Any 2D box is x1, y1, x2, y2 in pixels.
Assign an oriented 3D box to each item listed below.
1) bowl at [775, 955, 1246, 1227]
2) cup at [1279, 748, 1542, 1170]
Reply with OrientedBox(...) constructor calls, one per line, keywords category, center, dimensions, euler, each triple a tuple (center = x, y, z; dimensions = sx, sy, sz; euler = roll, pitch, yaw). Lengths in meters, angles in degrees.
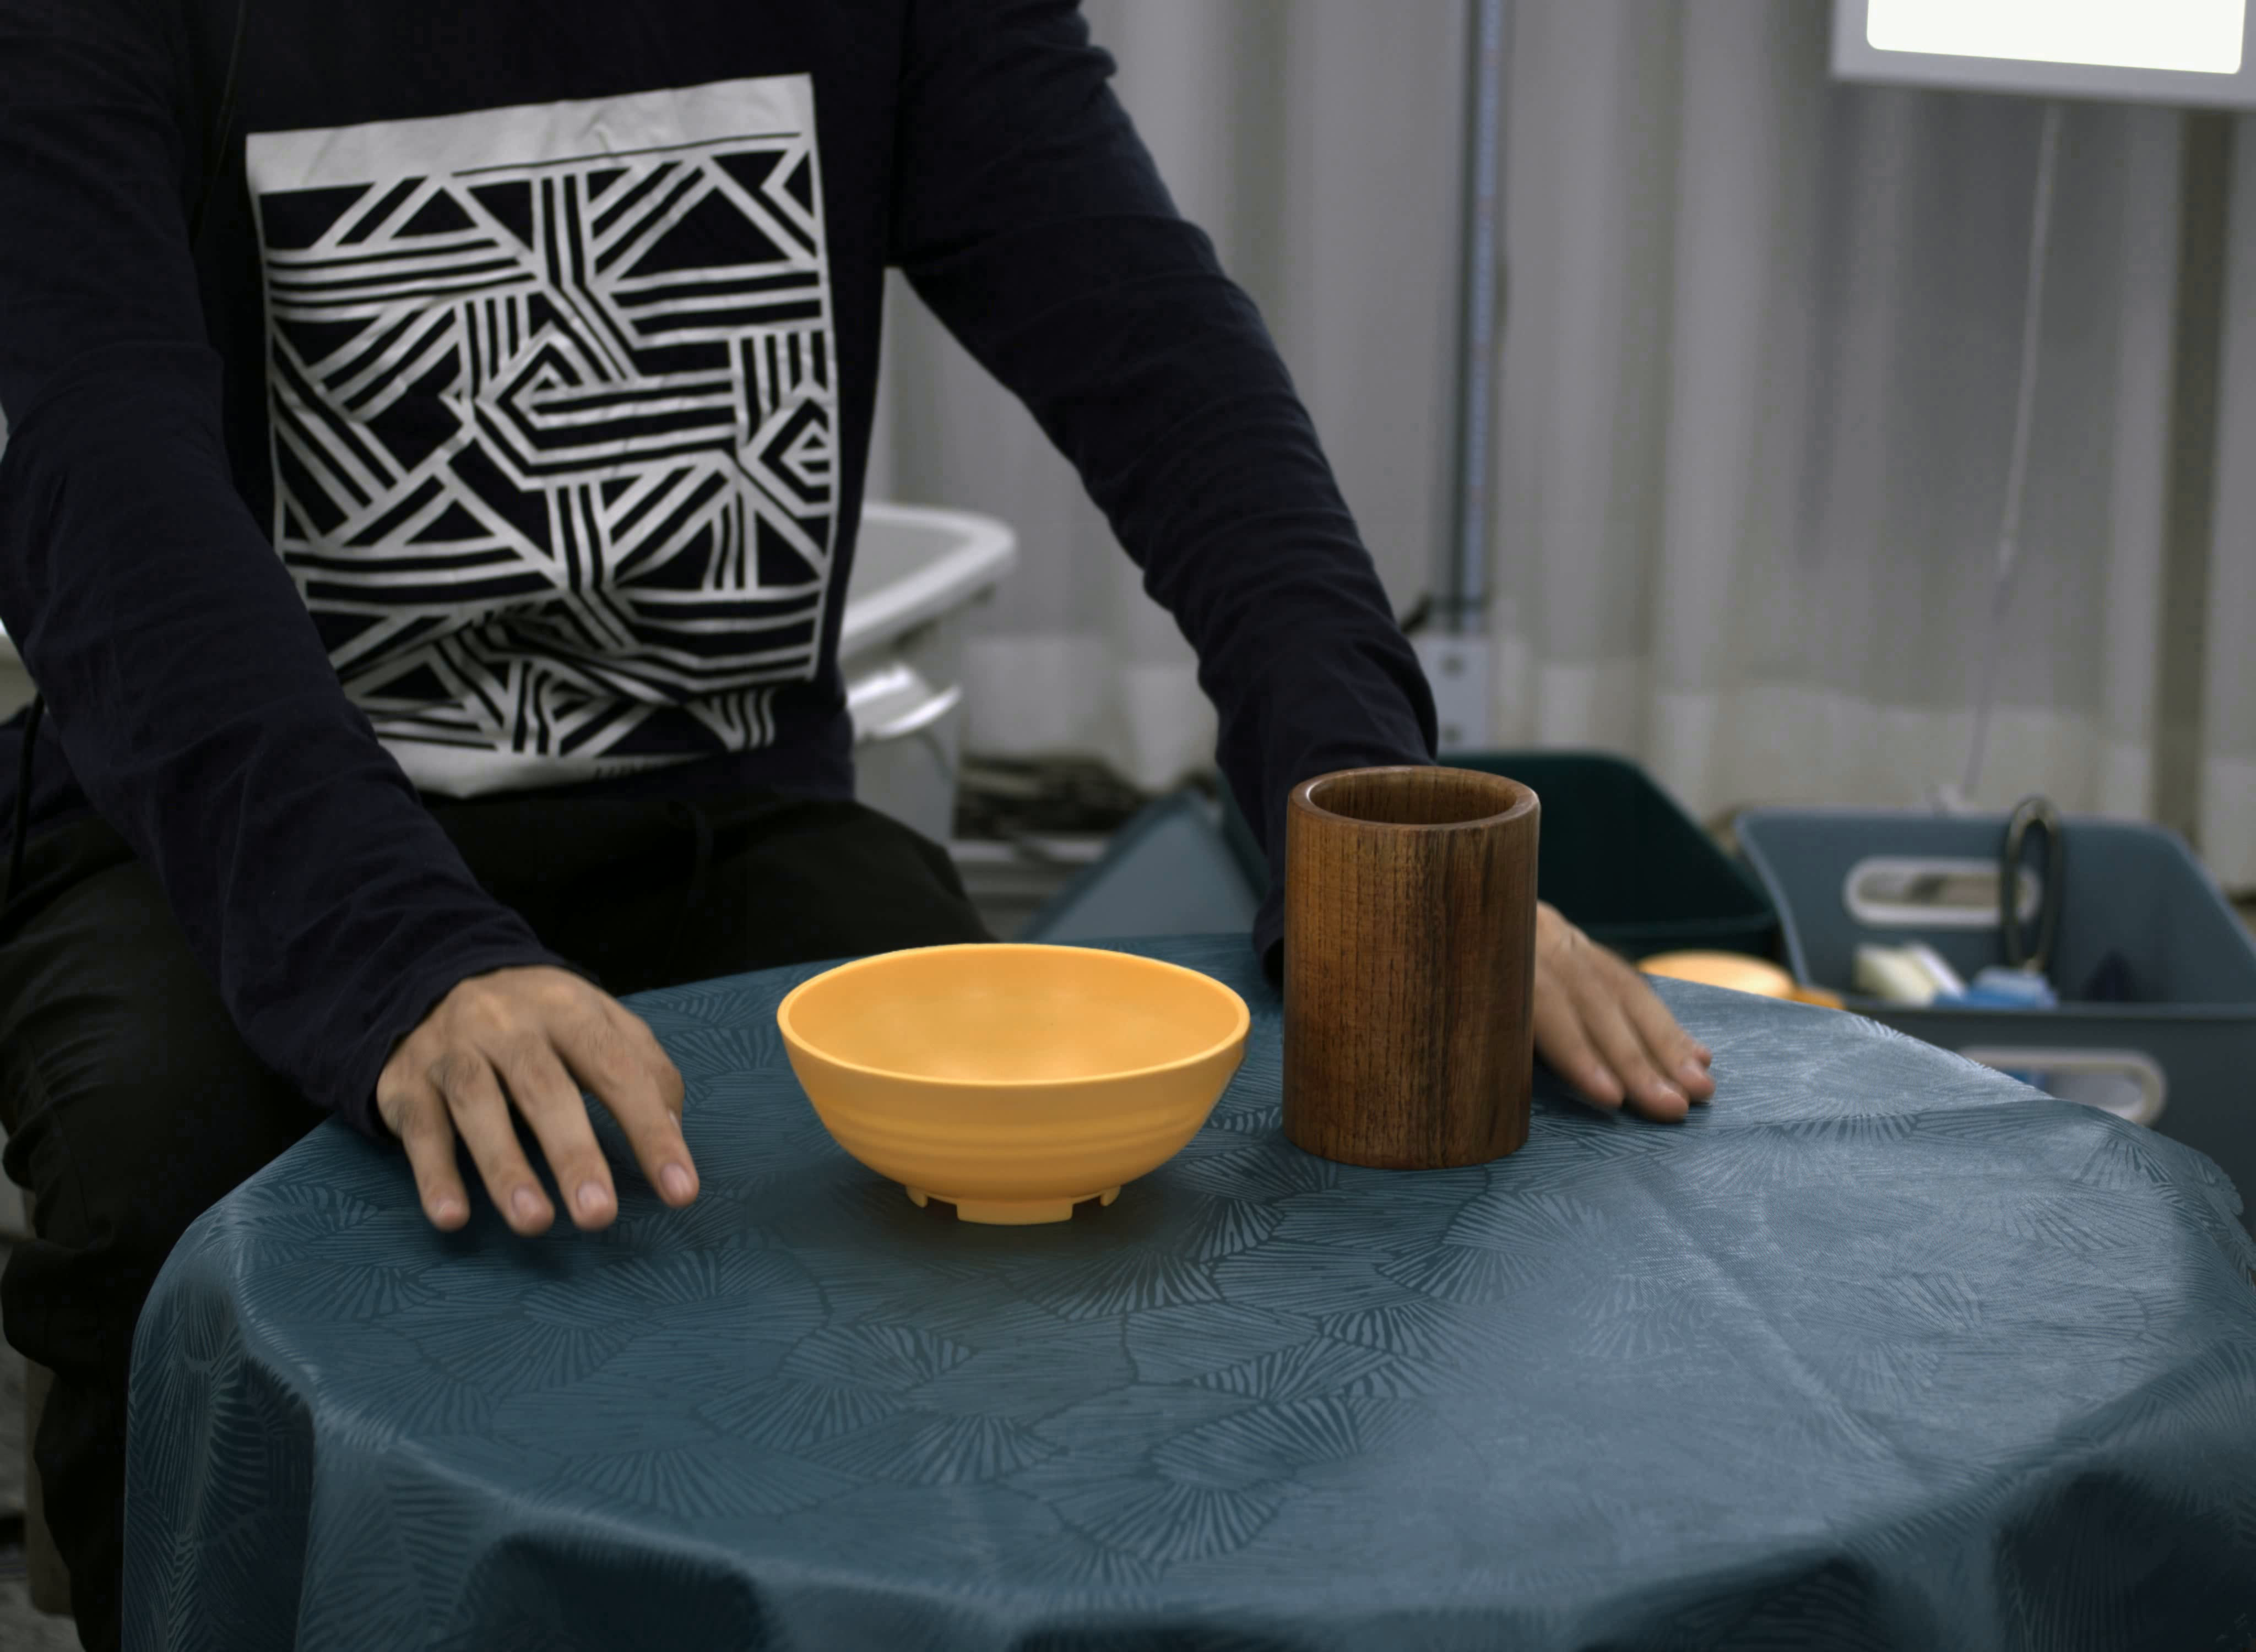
OrientedBox(category="bowl", center=(-0.036, 0.085, 1.616), dimensions=(0.145, 0.060, 0.144), euler=(1, 13, 0))
OrientedBox(category="cup", center=(0.088, 0.041, 1.666), dimensions=(0.087, 0.119, 0.087), euler=(2, 14, 0))
